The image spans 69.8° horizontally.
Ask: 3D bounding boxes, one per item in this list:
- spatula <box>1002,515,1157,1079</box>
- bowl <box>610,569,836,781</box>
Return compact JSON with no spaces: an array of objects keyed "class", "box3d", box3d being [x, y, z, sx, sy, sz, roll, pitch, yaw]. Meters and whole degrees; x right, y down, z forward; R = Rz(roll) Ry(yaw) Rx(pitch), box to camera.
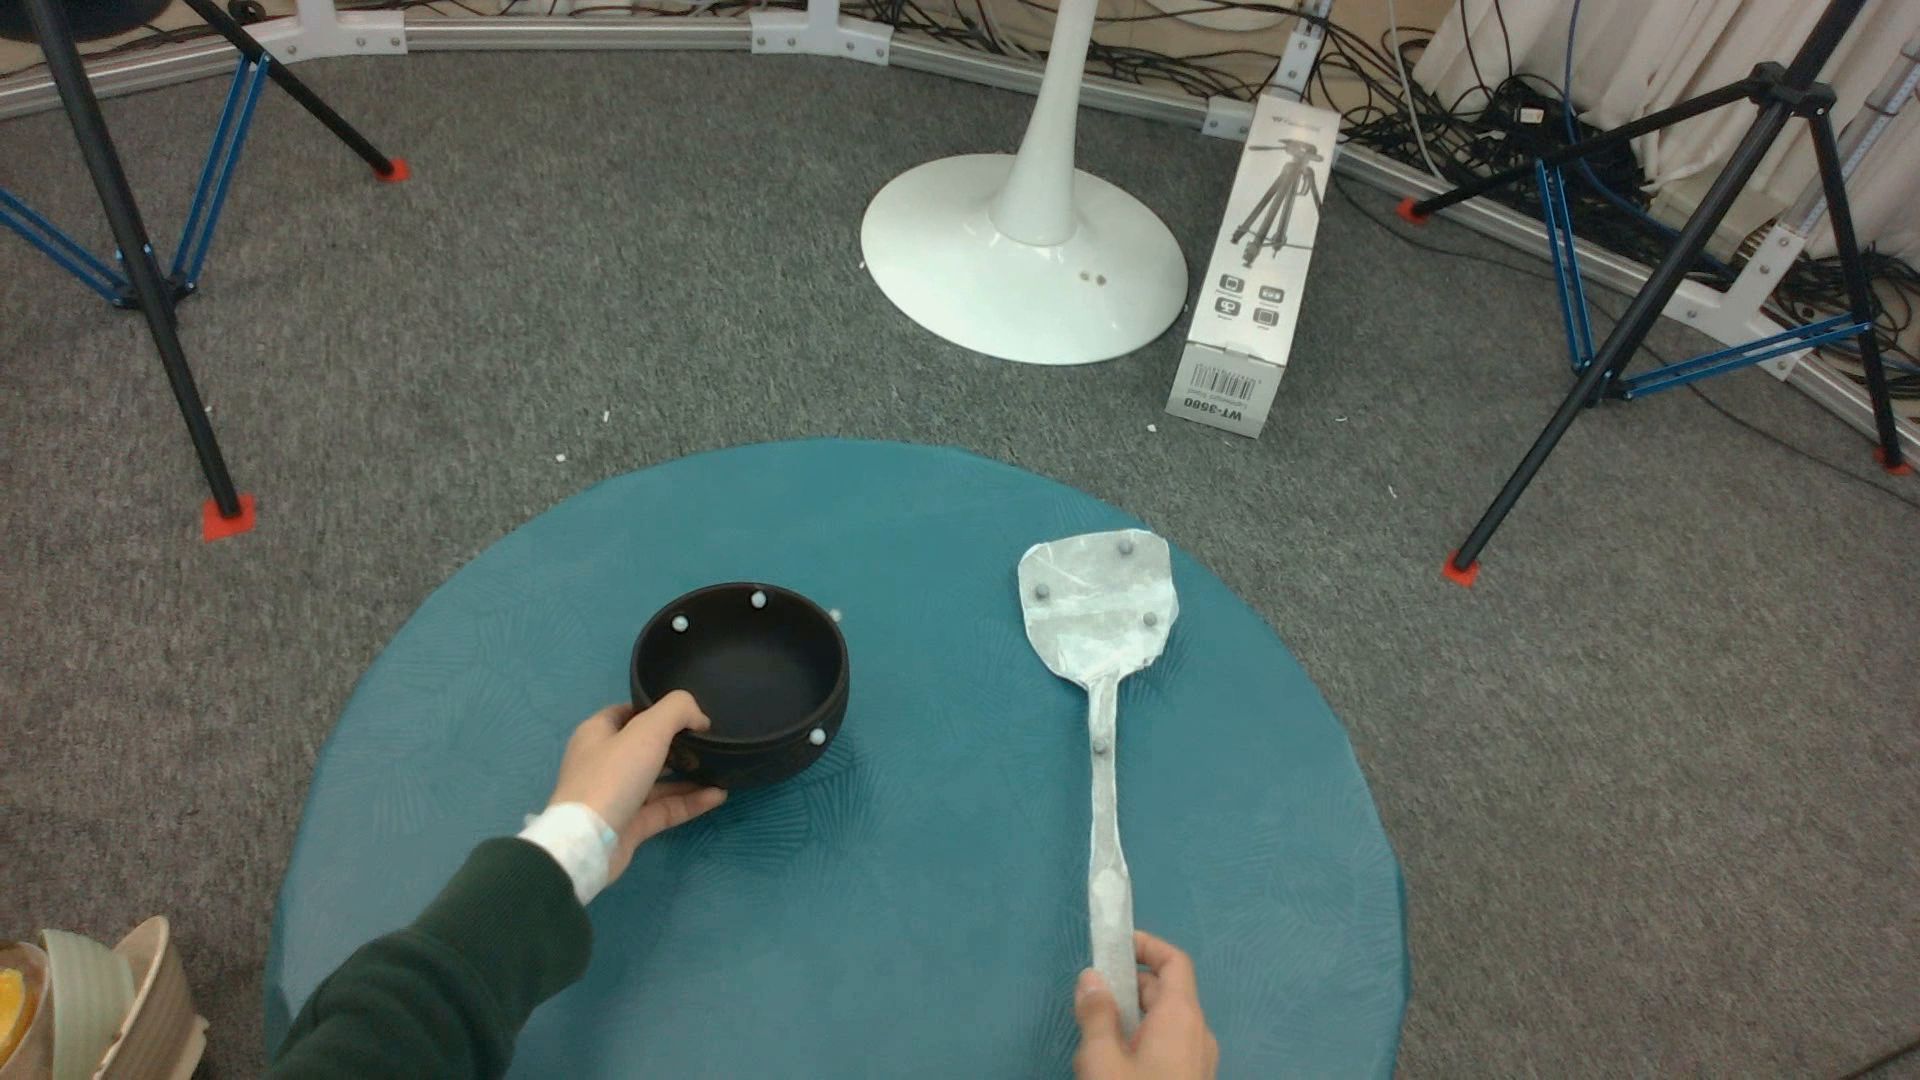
[{"class":"spatula","box3d":[0.069,0.125,0.759,0.098,0.044,0.366,-9,41,12]},{"class":"bowl","box3d":[-0.126,0.080,0.743,0.118,0.069,0.118,2,44,-2]}]
